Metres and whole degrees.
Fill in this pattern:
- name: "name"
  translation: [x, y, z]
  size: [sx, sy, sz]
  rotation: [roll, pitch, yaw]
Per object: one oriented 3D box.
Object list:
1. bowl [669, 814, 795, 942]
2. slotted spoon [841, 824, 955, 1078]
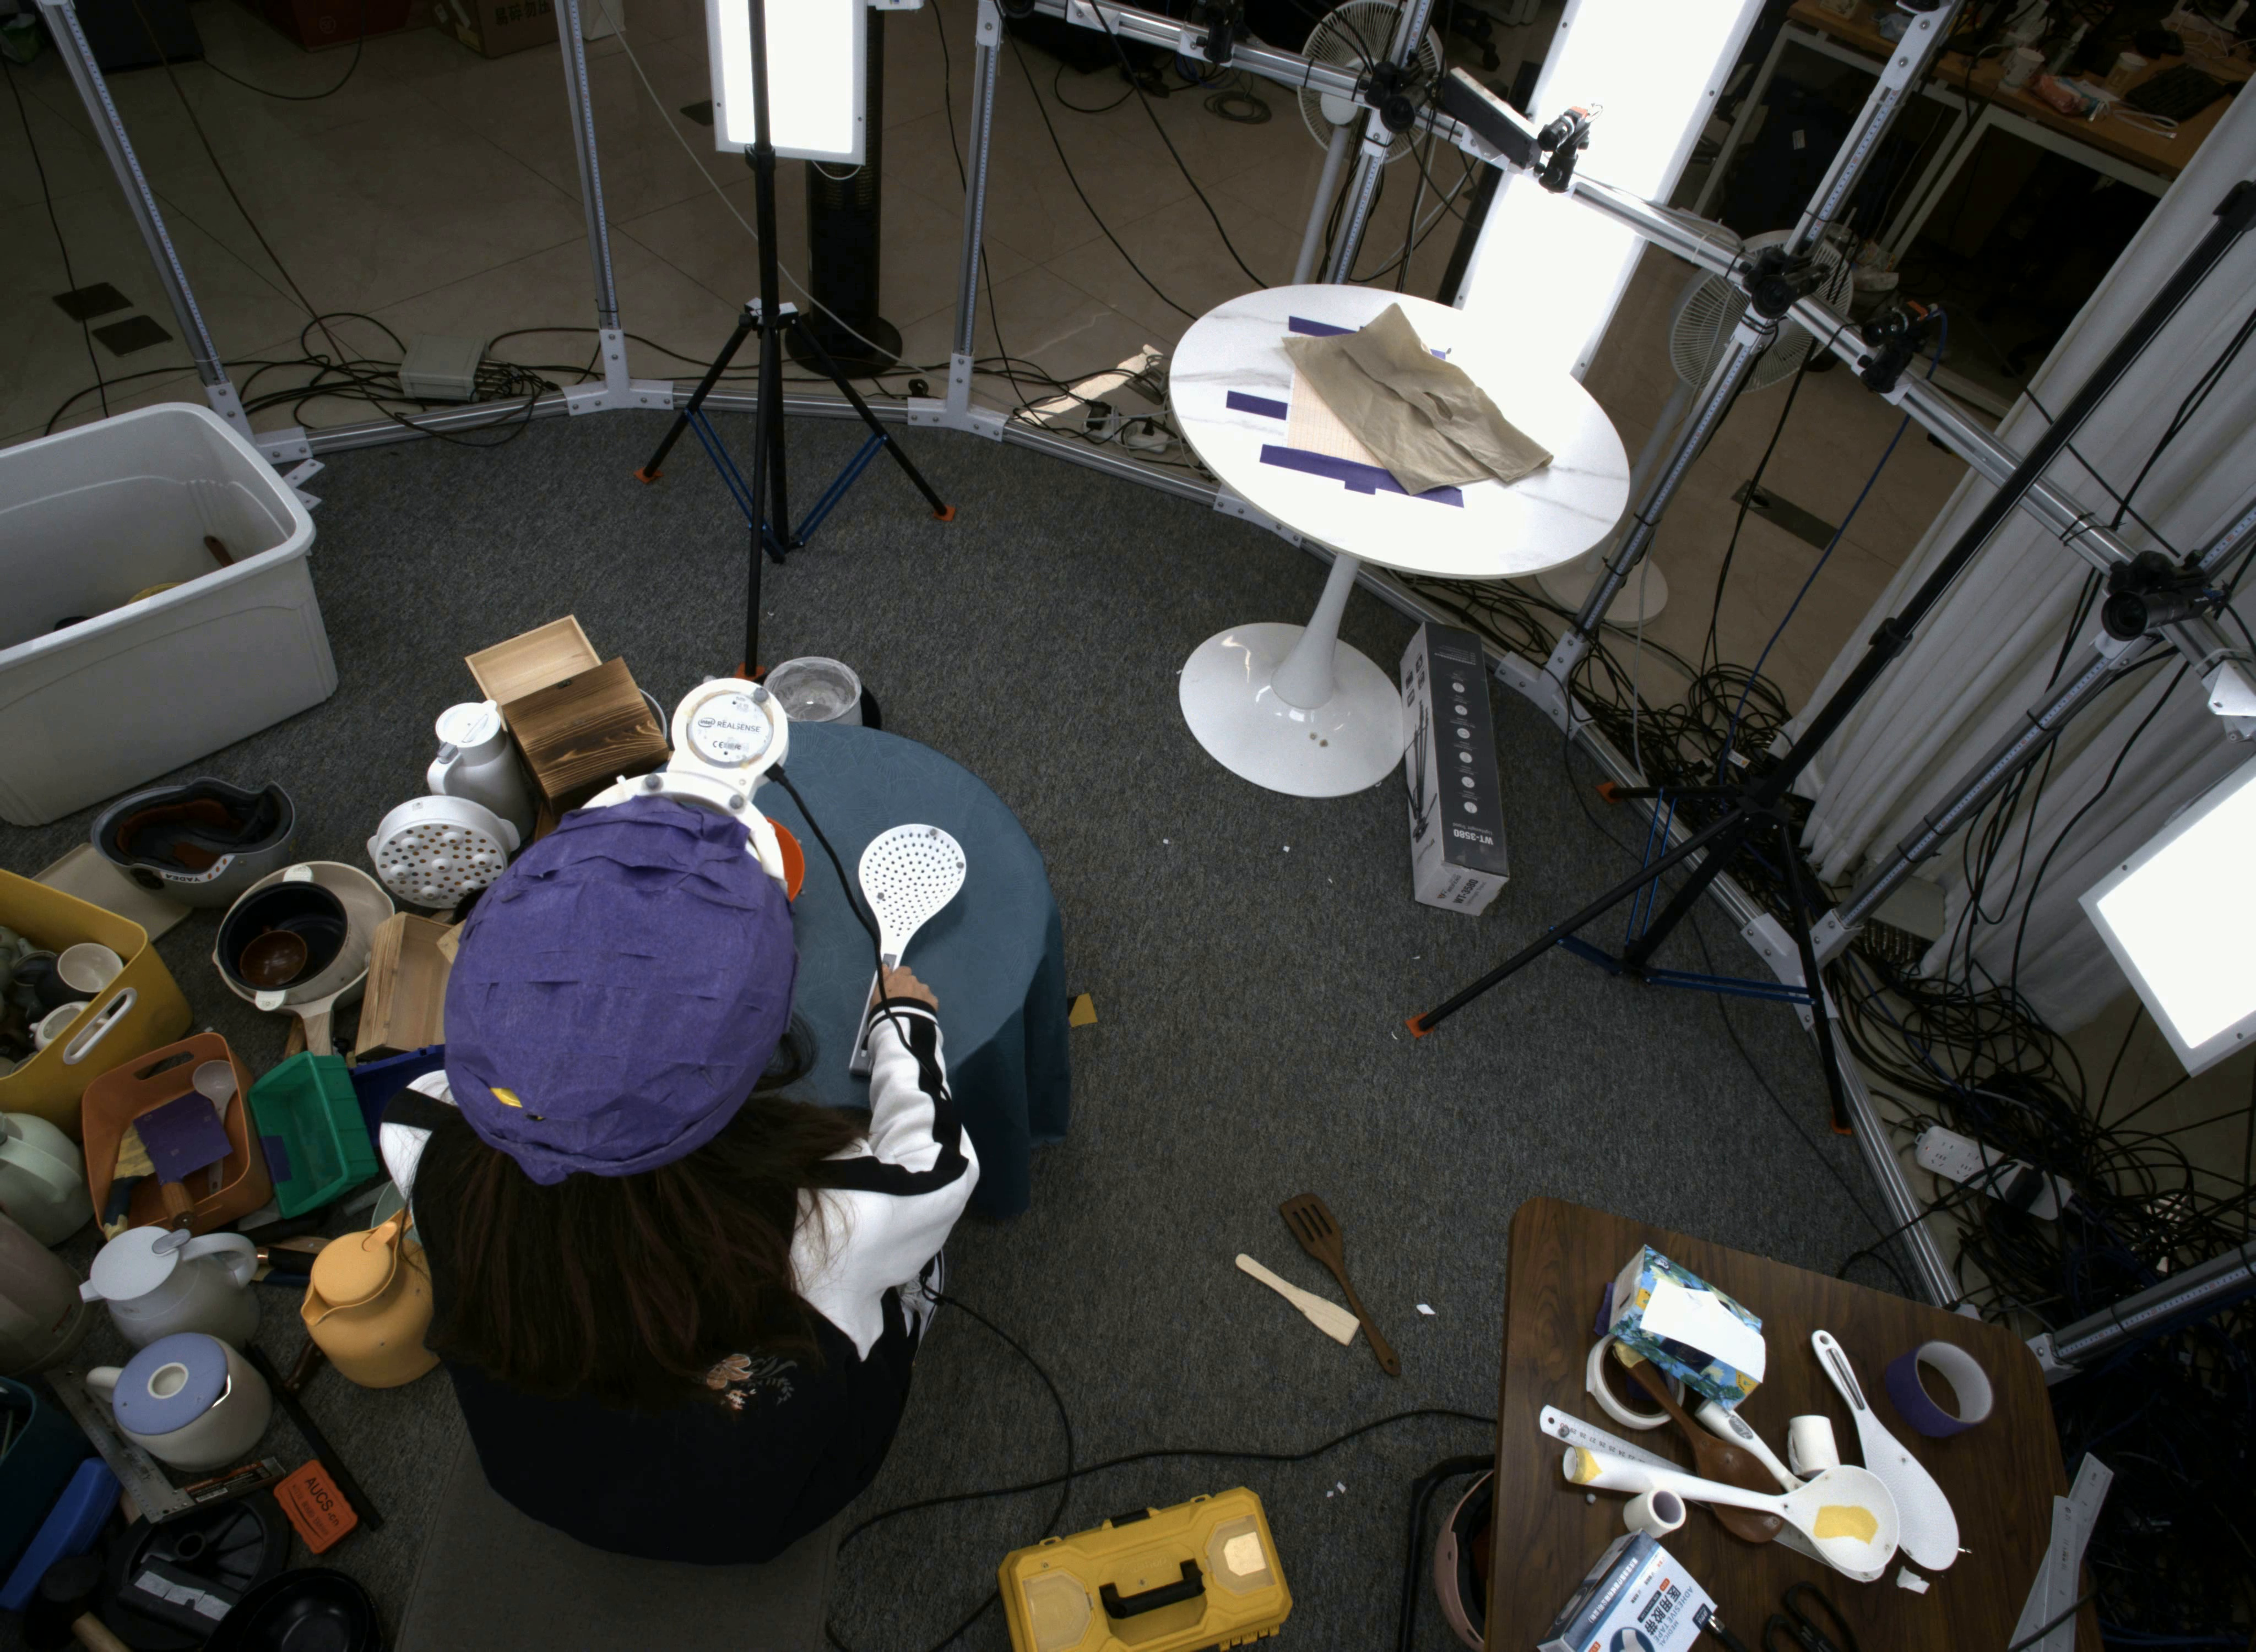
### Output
- name: "bowl"
  translation: [-0.483, 0.074, 1.583]
  size: [0.148, 0.106, 0.145]
  rotation: [9, 52, -9]
- name: "slotted spoon"
  translation: [-0.301, 0.146, 1.612]
  size: [0.134, 0.047, 0.344]
  rotation: [7, 53, 1]
